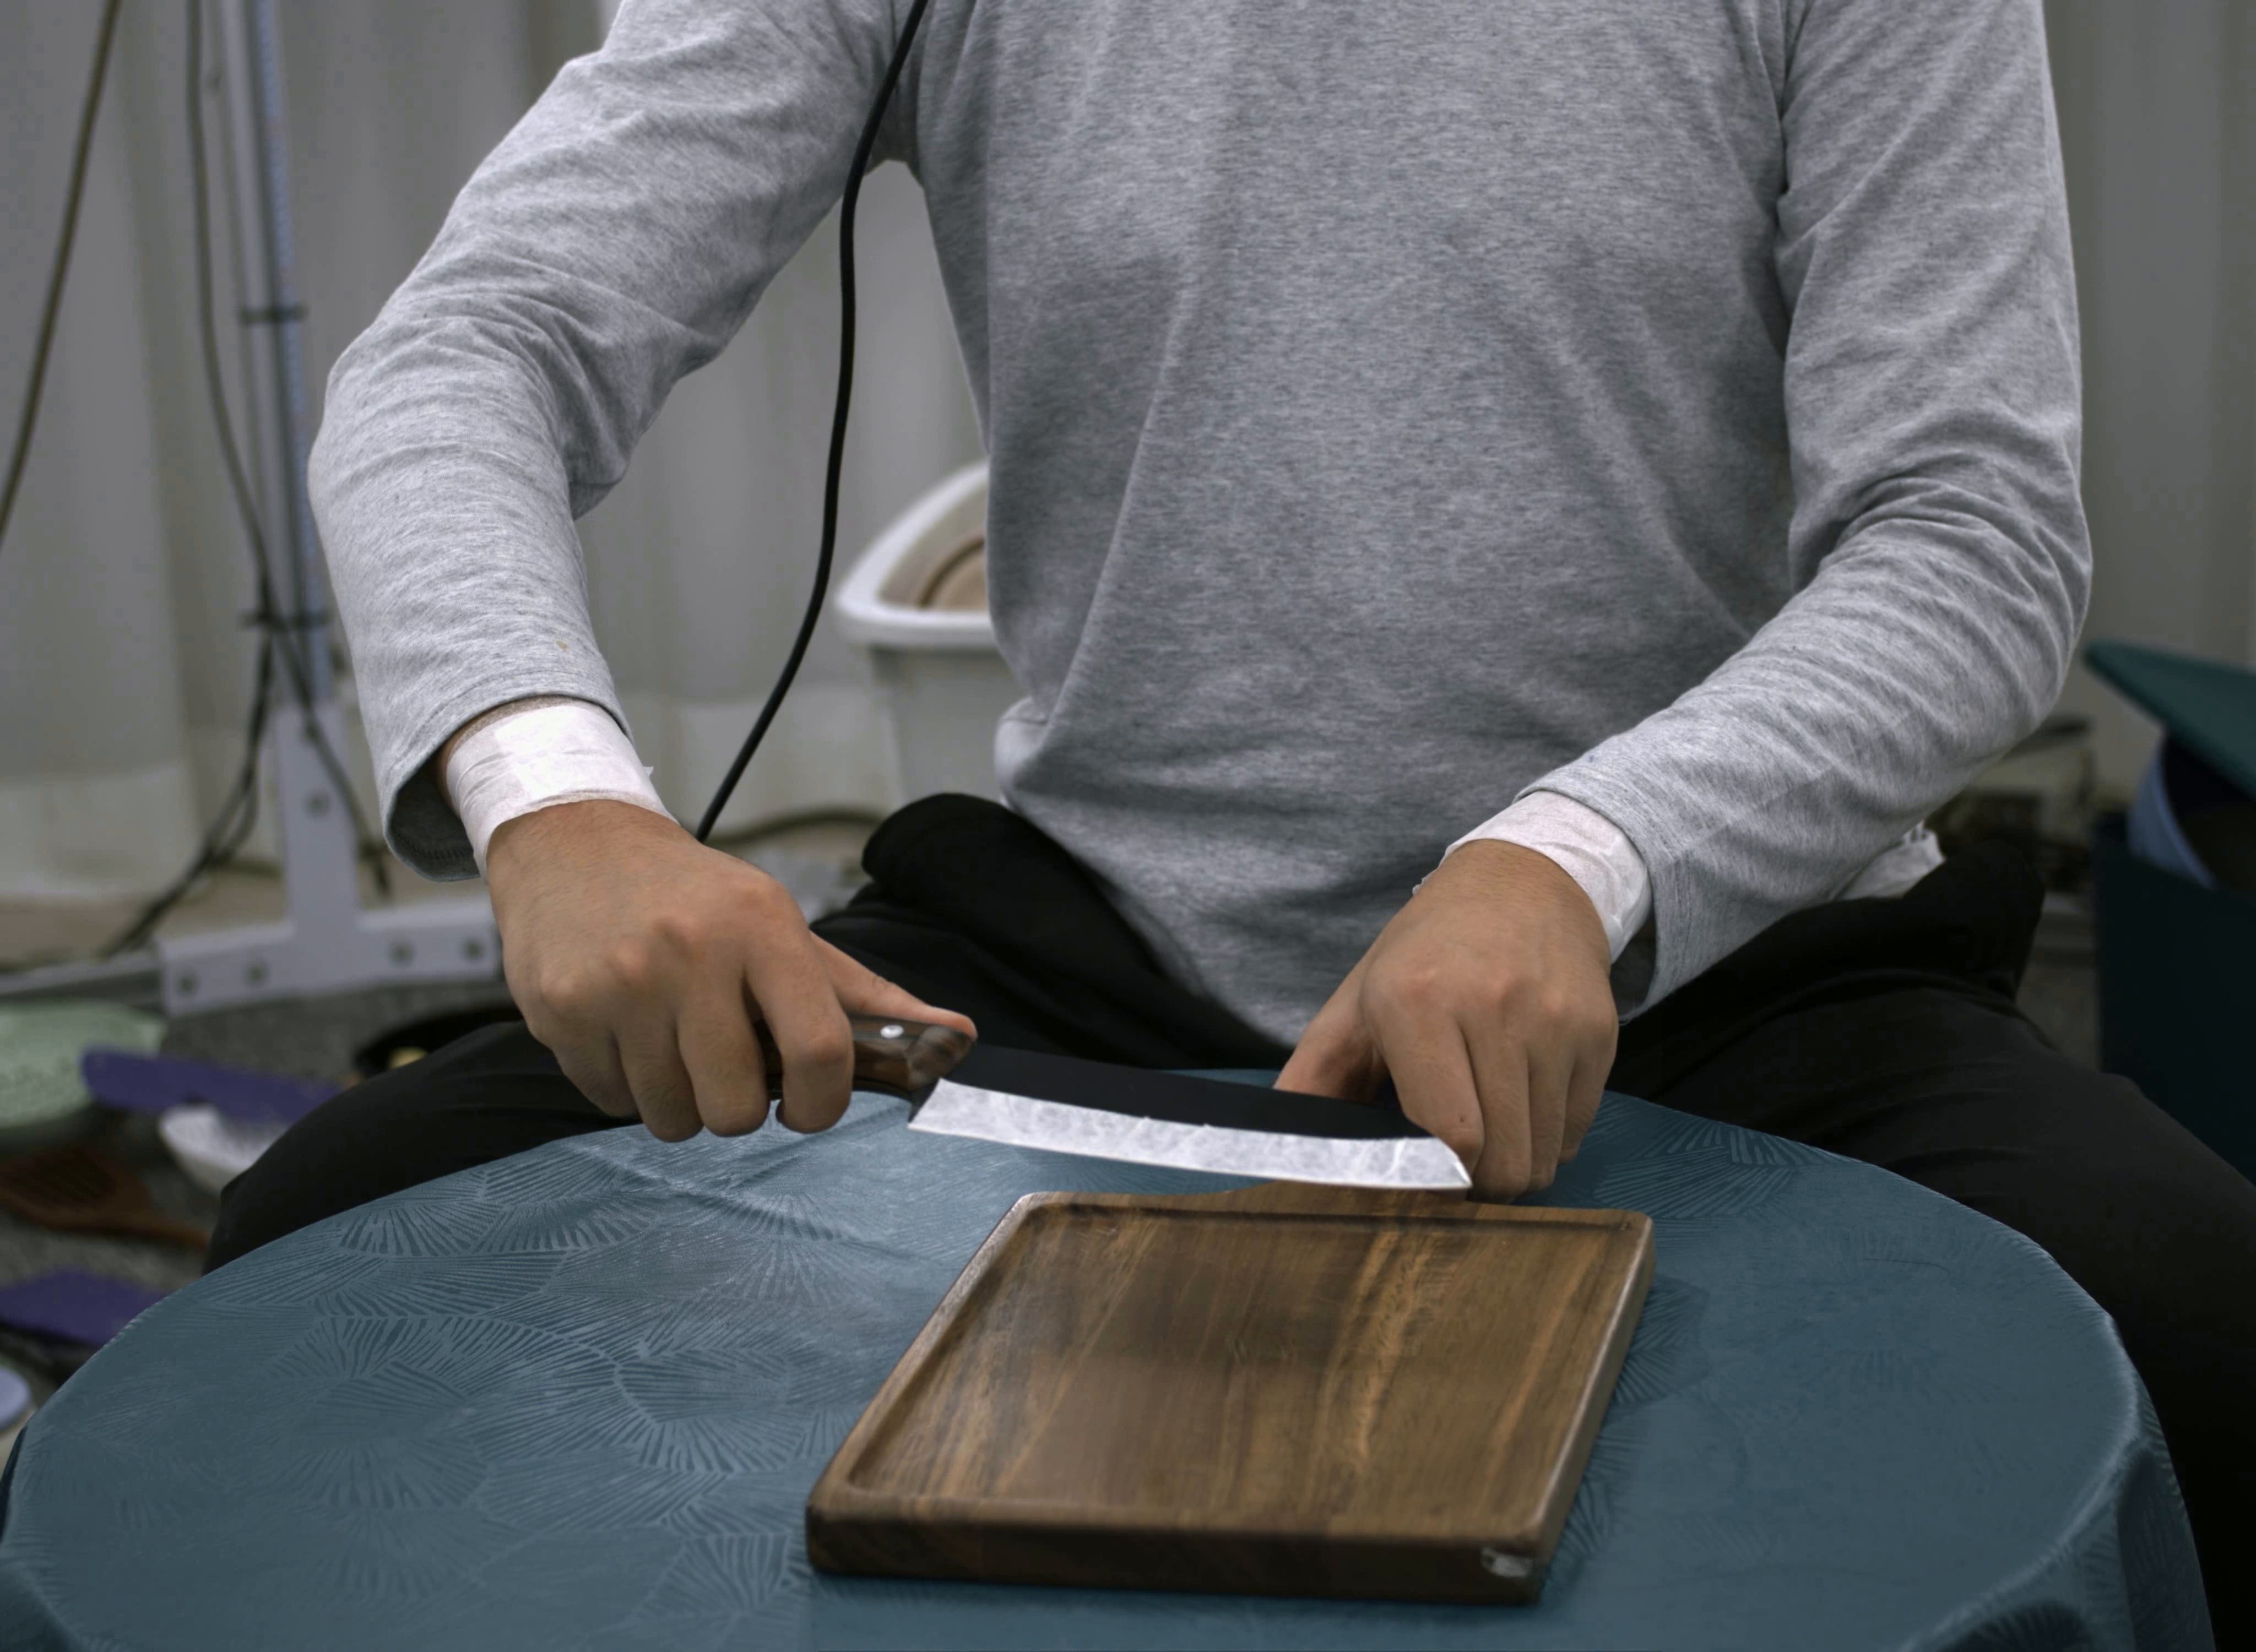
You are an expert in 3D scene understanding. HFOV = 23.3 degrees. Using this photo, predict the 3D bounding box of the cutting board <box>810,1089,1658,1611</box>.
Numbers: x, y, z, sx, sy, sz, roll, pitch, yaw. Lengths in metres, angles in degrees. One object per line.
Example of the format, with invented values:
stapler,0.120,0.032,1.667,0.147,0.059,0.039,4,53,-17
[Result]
cutting board,0.047,0.141,1.564,0.201,0.023,0.354,1,16,13

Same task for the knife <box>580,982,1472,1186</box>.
knife,-0.034,0.076,1.574,0.290,0.020,0.050,9,36,24
